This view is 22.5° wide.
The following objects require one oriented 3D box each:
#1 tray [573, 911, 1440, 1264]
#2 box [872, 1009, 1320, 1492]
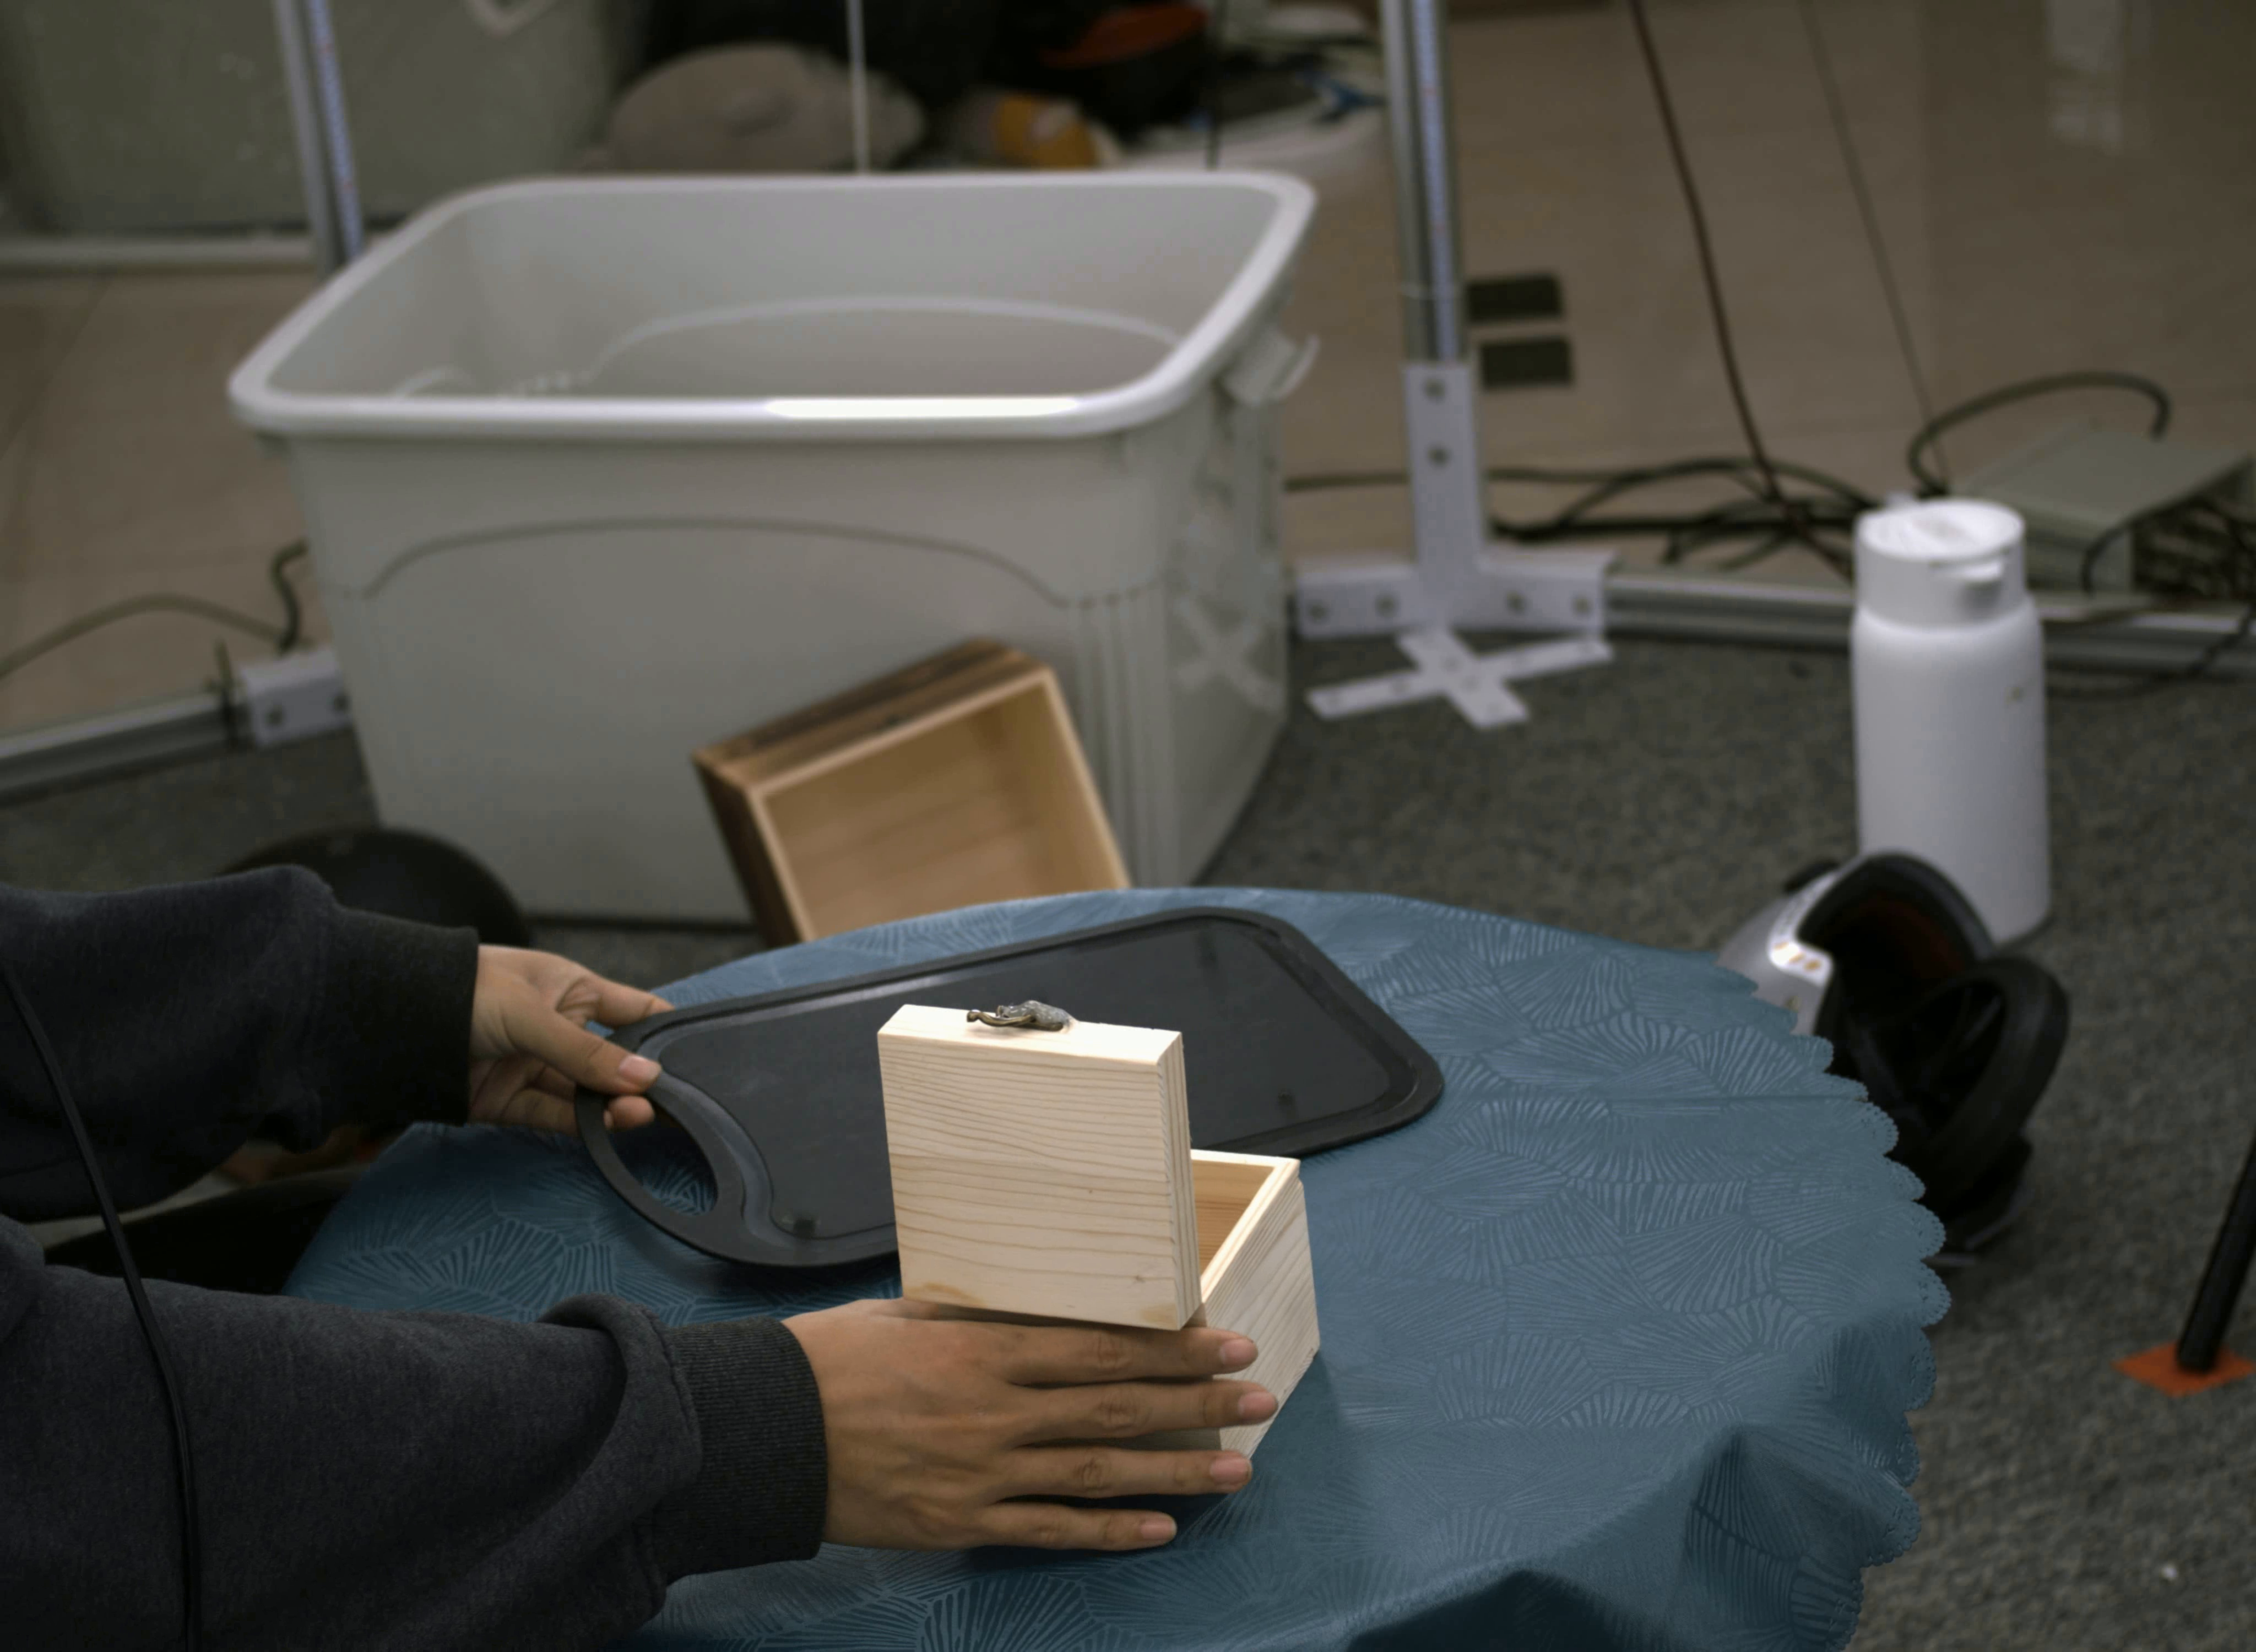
[{"bbox_3d":[-0.053,0.099,2.211,0.324,0.010,0.208,-12,27,-19],"label":"tray"},{"bbox_3d":[-0.008,0.126,1.955,0.102,0.187,0.132,4,29,21],"label":"box"}]
